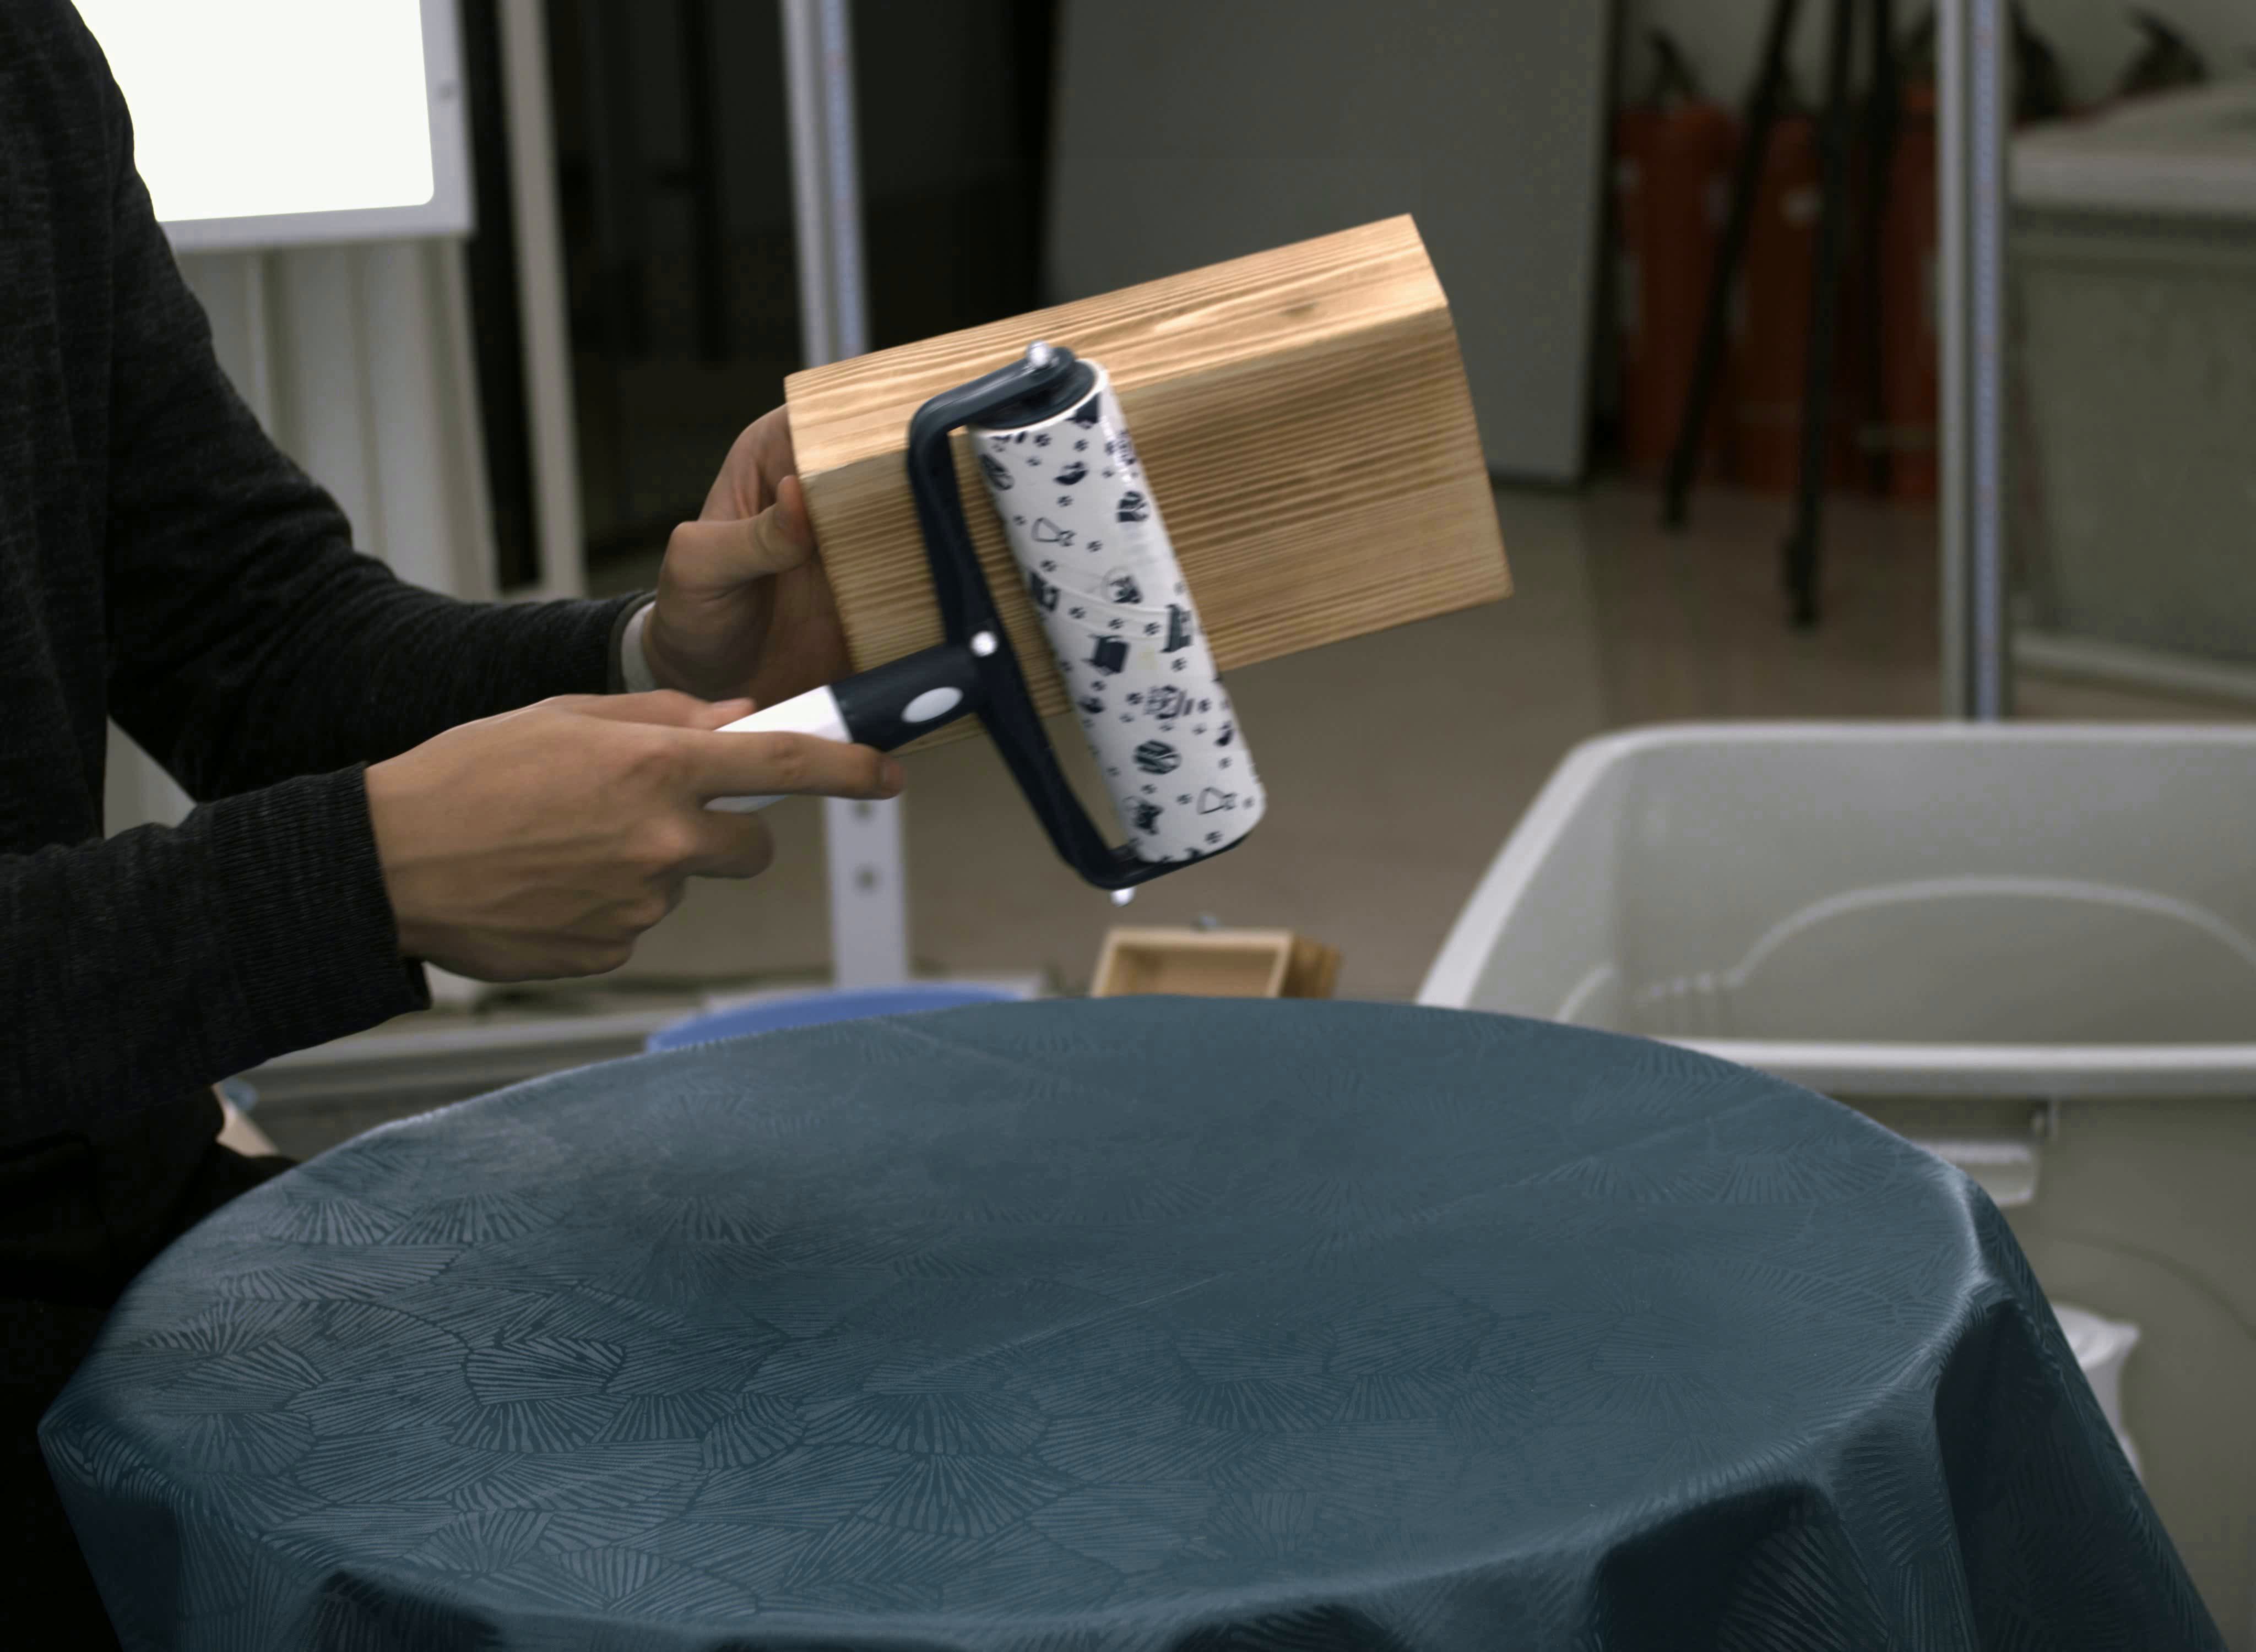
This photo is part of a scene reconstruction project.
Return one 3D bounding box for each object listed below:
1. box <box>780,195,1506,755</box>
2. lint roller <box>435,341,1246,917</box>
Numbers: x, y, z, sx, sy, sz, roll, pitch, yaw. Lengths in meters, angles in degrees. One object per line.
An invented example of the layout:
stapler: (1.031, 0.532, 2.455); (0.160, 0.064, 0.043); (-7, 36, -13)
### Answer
box: (0.004, -0.111, 1.724); (0.209, 0.108, 0.081); (-15, 28, 3)
lint roller: (-0.097, -0.023, 1.667); (0.244, 0.176, 0.051); (-25, 25, -5)
